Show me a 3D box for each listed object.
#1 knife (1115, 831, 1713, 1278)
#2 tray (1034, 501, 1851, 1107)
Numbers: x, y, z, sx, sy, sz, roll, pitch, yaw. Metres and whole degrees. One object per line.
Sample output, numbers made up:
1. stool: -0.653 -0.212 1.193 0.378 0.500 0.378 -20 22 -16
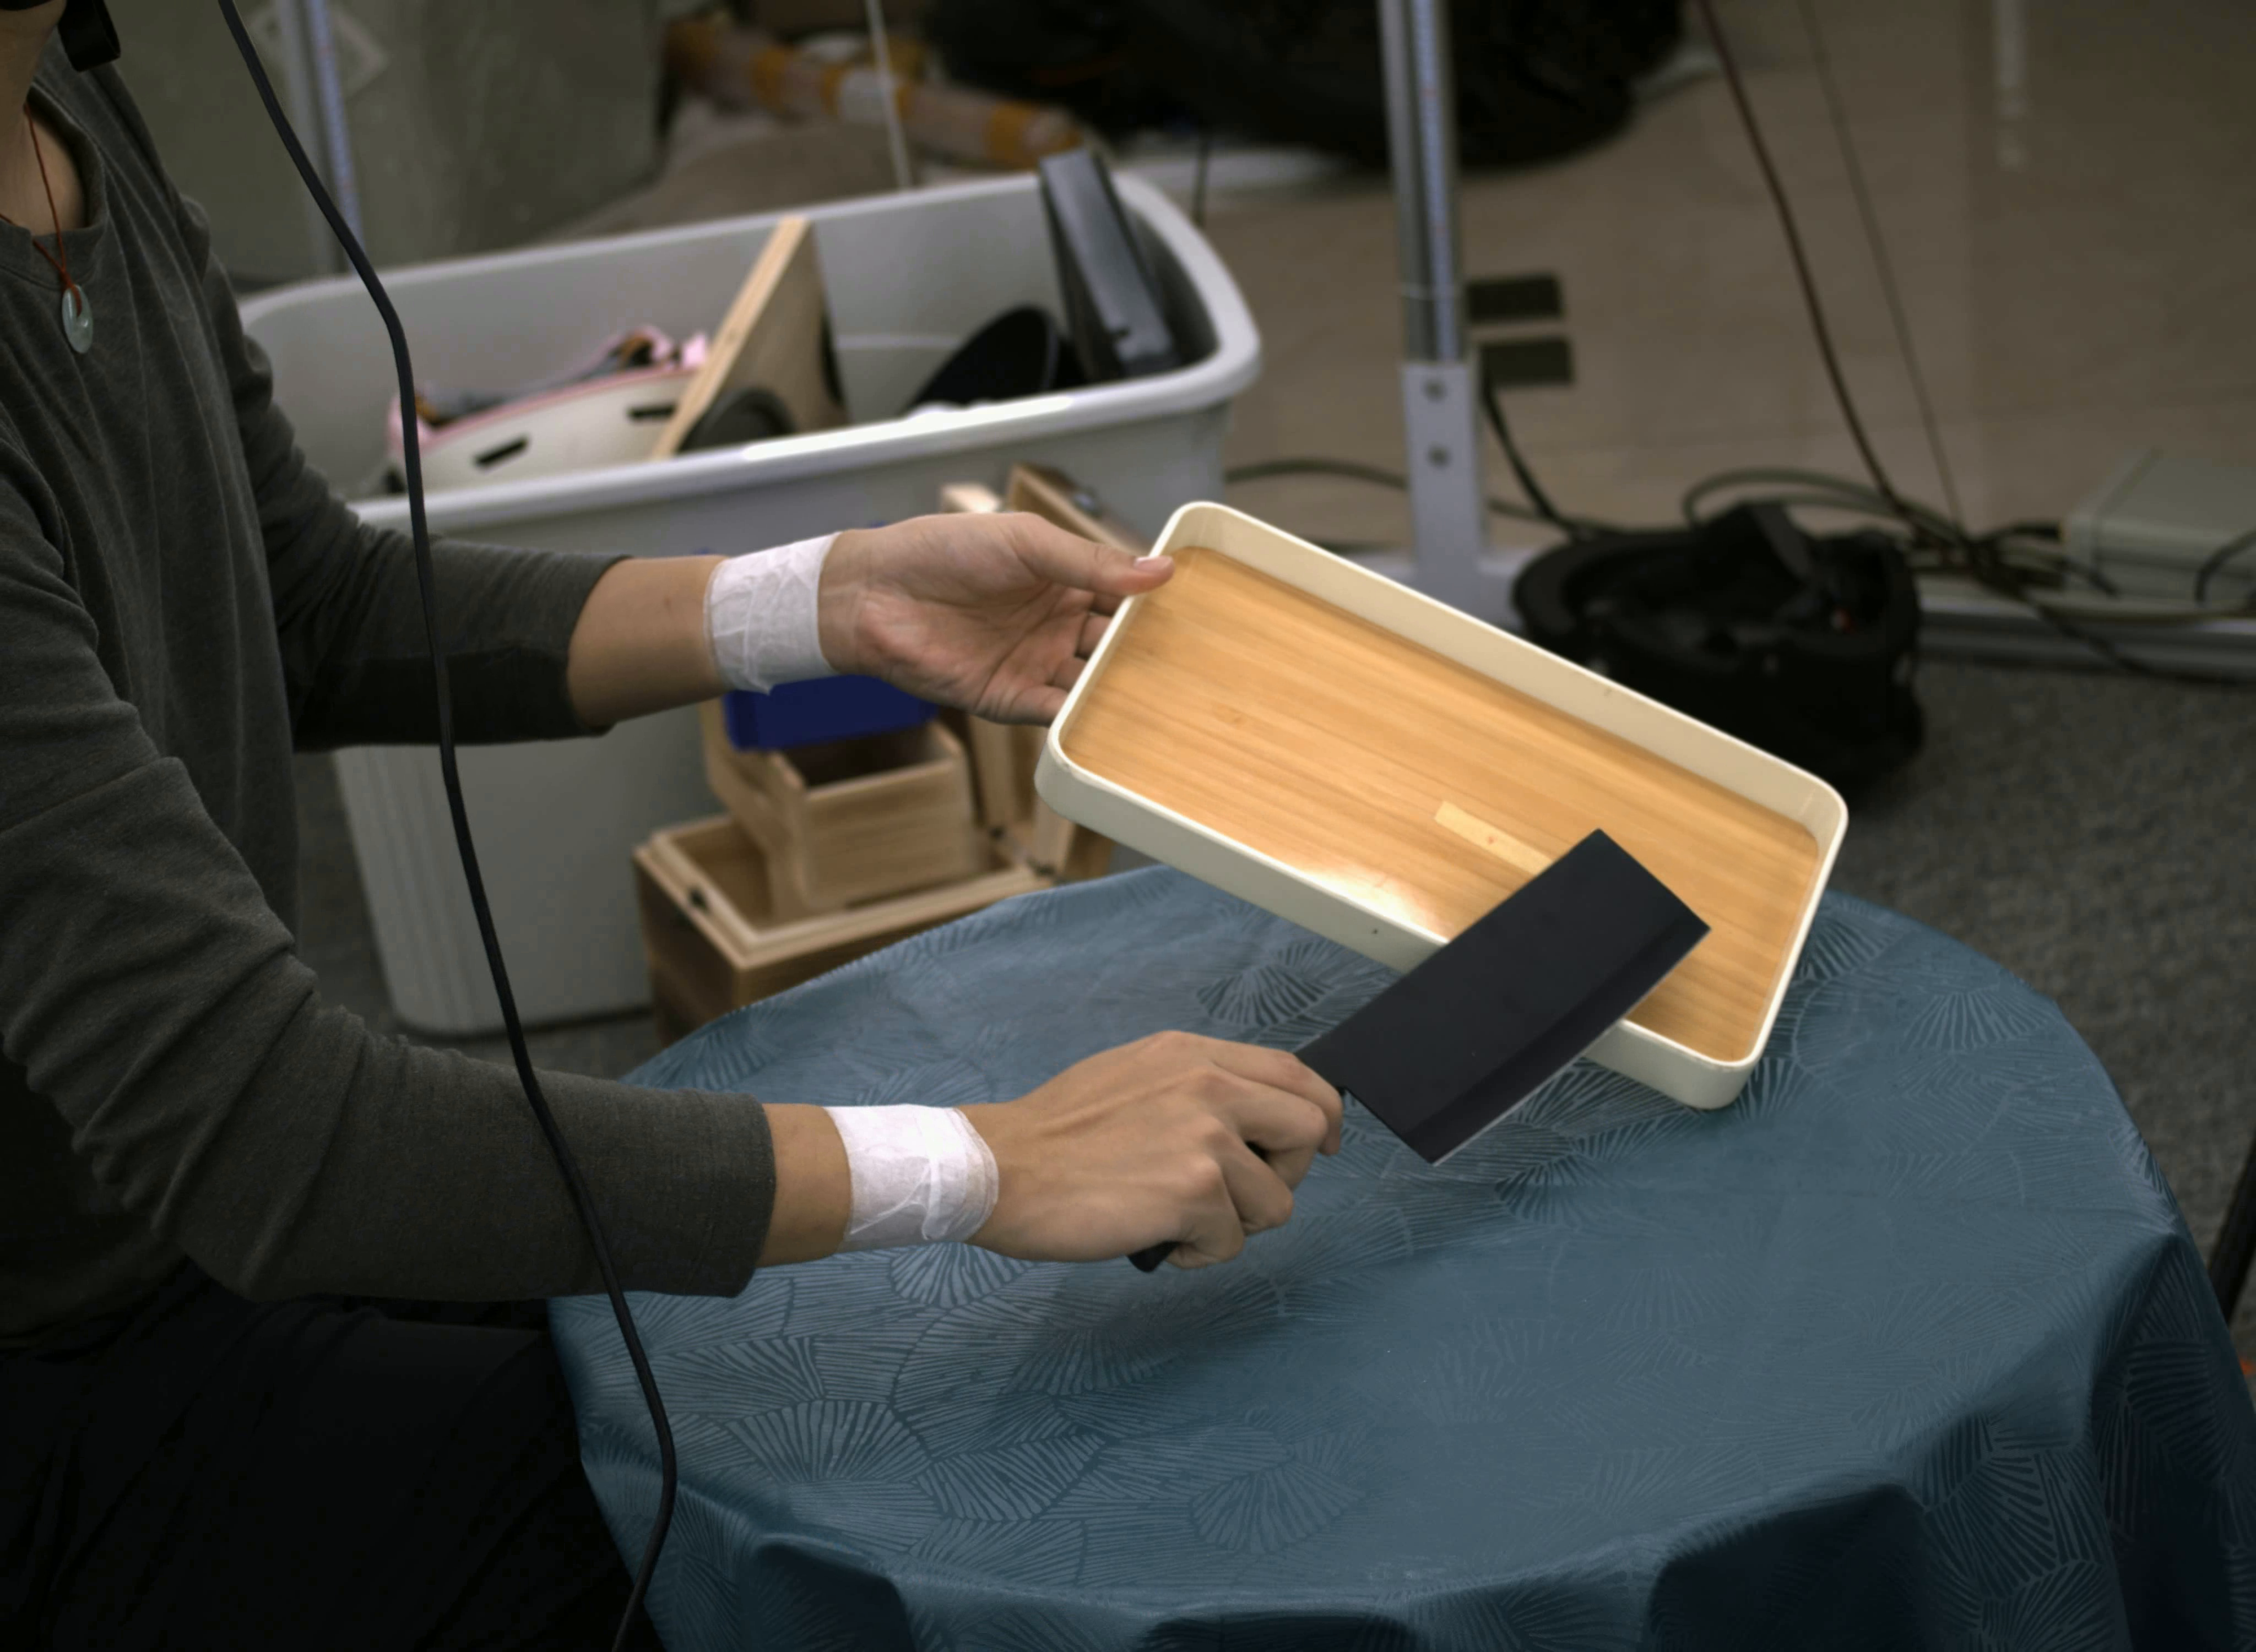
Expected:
1. knife: 0.106 0.088 2.103 0.299 0.021 0.080 -31 67 -35
2. tray: 0.126 -0.012 2.223 0.300 0.028 0.188 25 42 3
